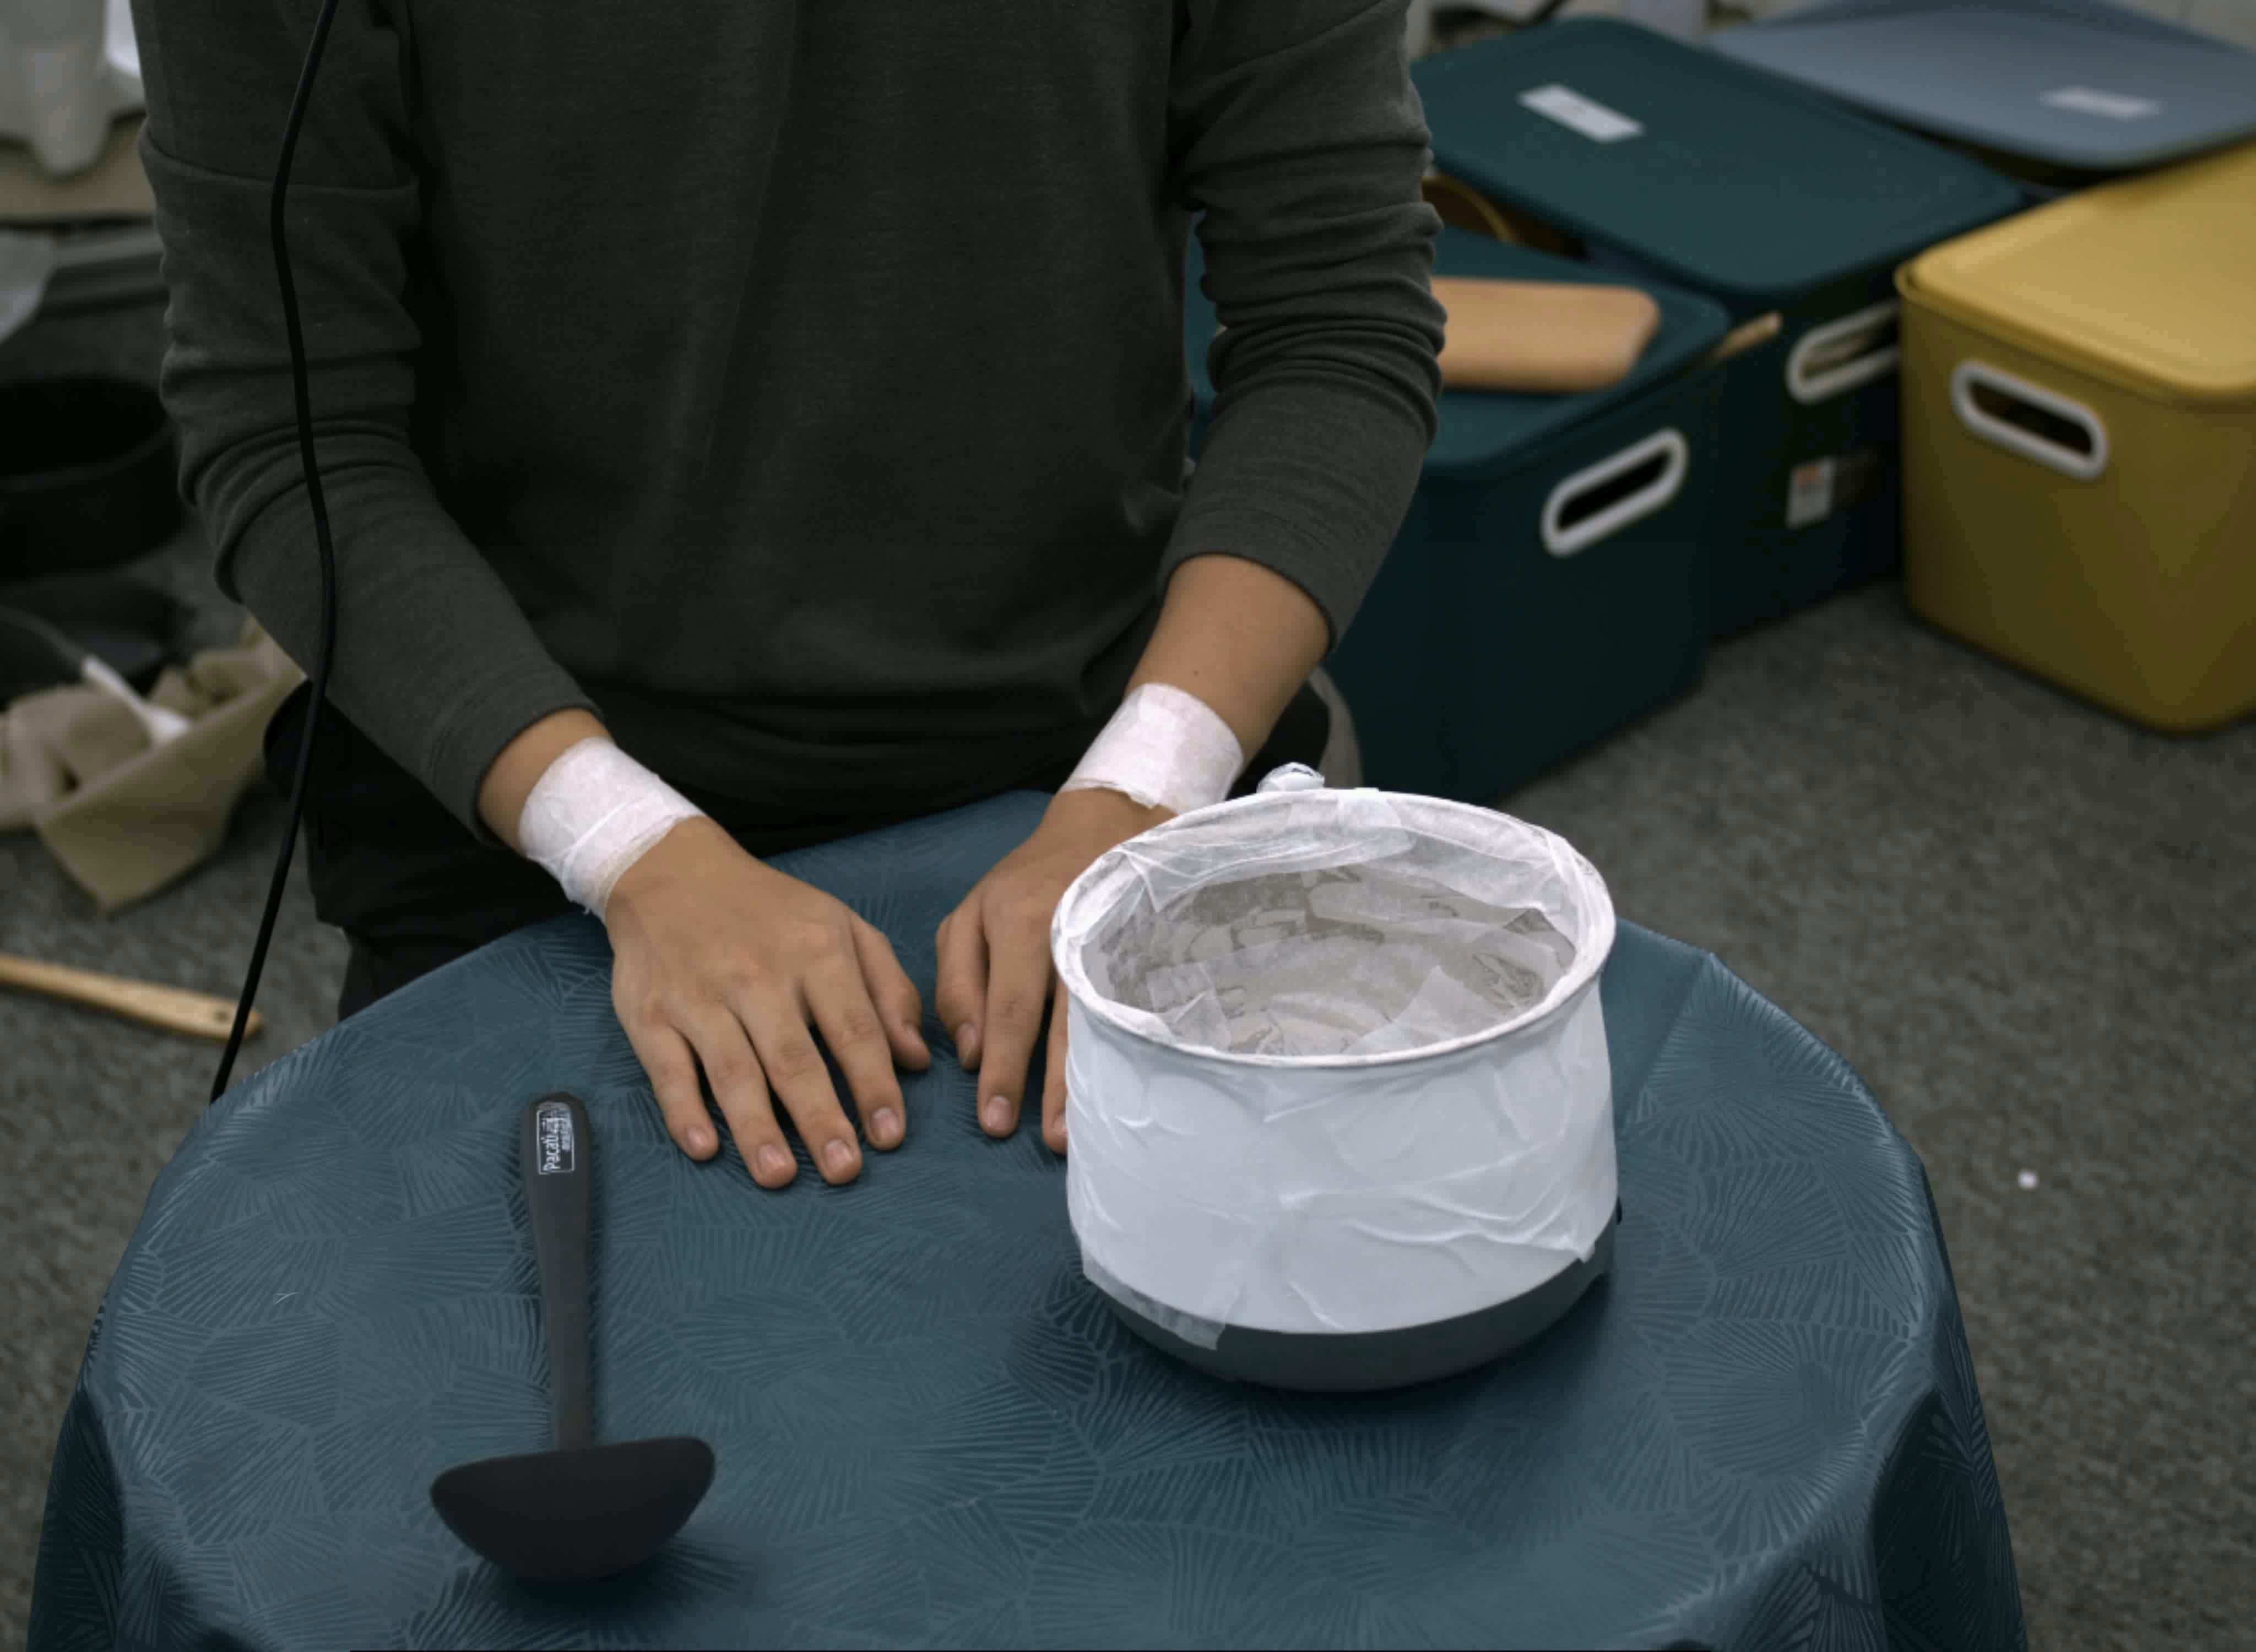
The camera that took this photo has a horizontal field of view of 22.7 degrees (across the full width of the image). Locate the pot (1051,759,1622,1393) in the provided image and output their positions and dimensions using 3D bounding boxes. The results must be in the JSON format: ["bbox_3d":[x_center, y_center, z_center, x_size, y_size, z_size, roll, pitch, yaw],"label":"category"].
[{"bbox_3d":[0.064,0.072,1.803,0.178,0.135,0.237,-5,27,-5],"label":"pot"}]

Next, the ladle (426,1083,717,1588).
[{"bbox_3d":[-0.179,0.142,1.771,0.086,0.063,0.318,-1,27,-7],"label":"ladle"}]
